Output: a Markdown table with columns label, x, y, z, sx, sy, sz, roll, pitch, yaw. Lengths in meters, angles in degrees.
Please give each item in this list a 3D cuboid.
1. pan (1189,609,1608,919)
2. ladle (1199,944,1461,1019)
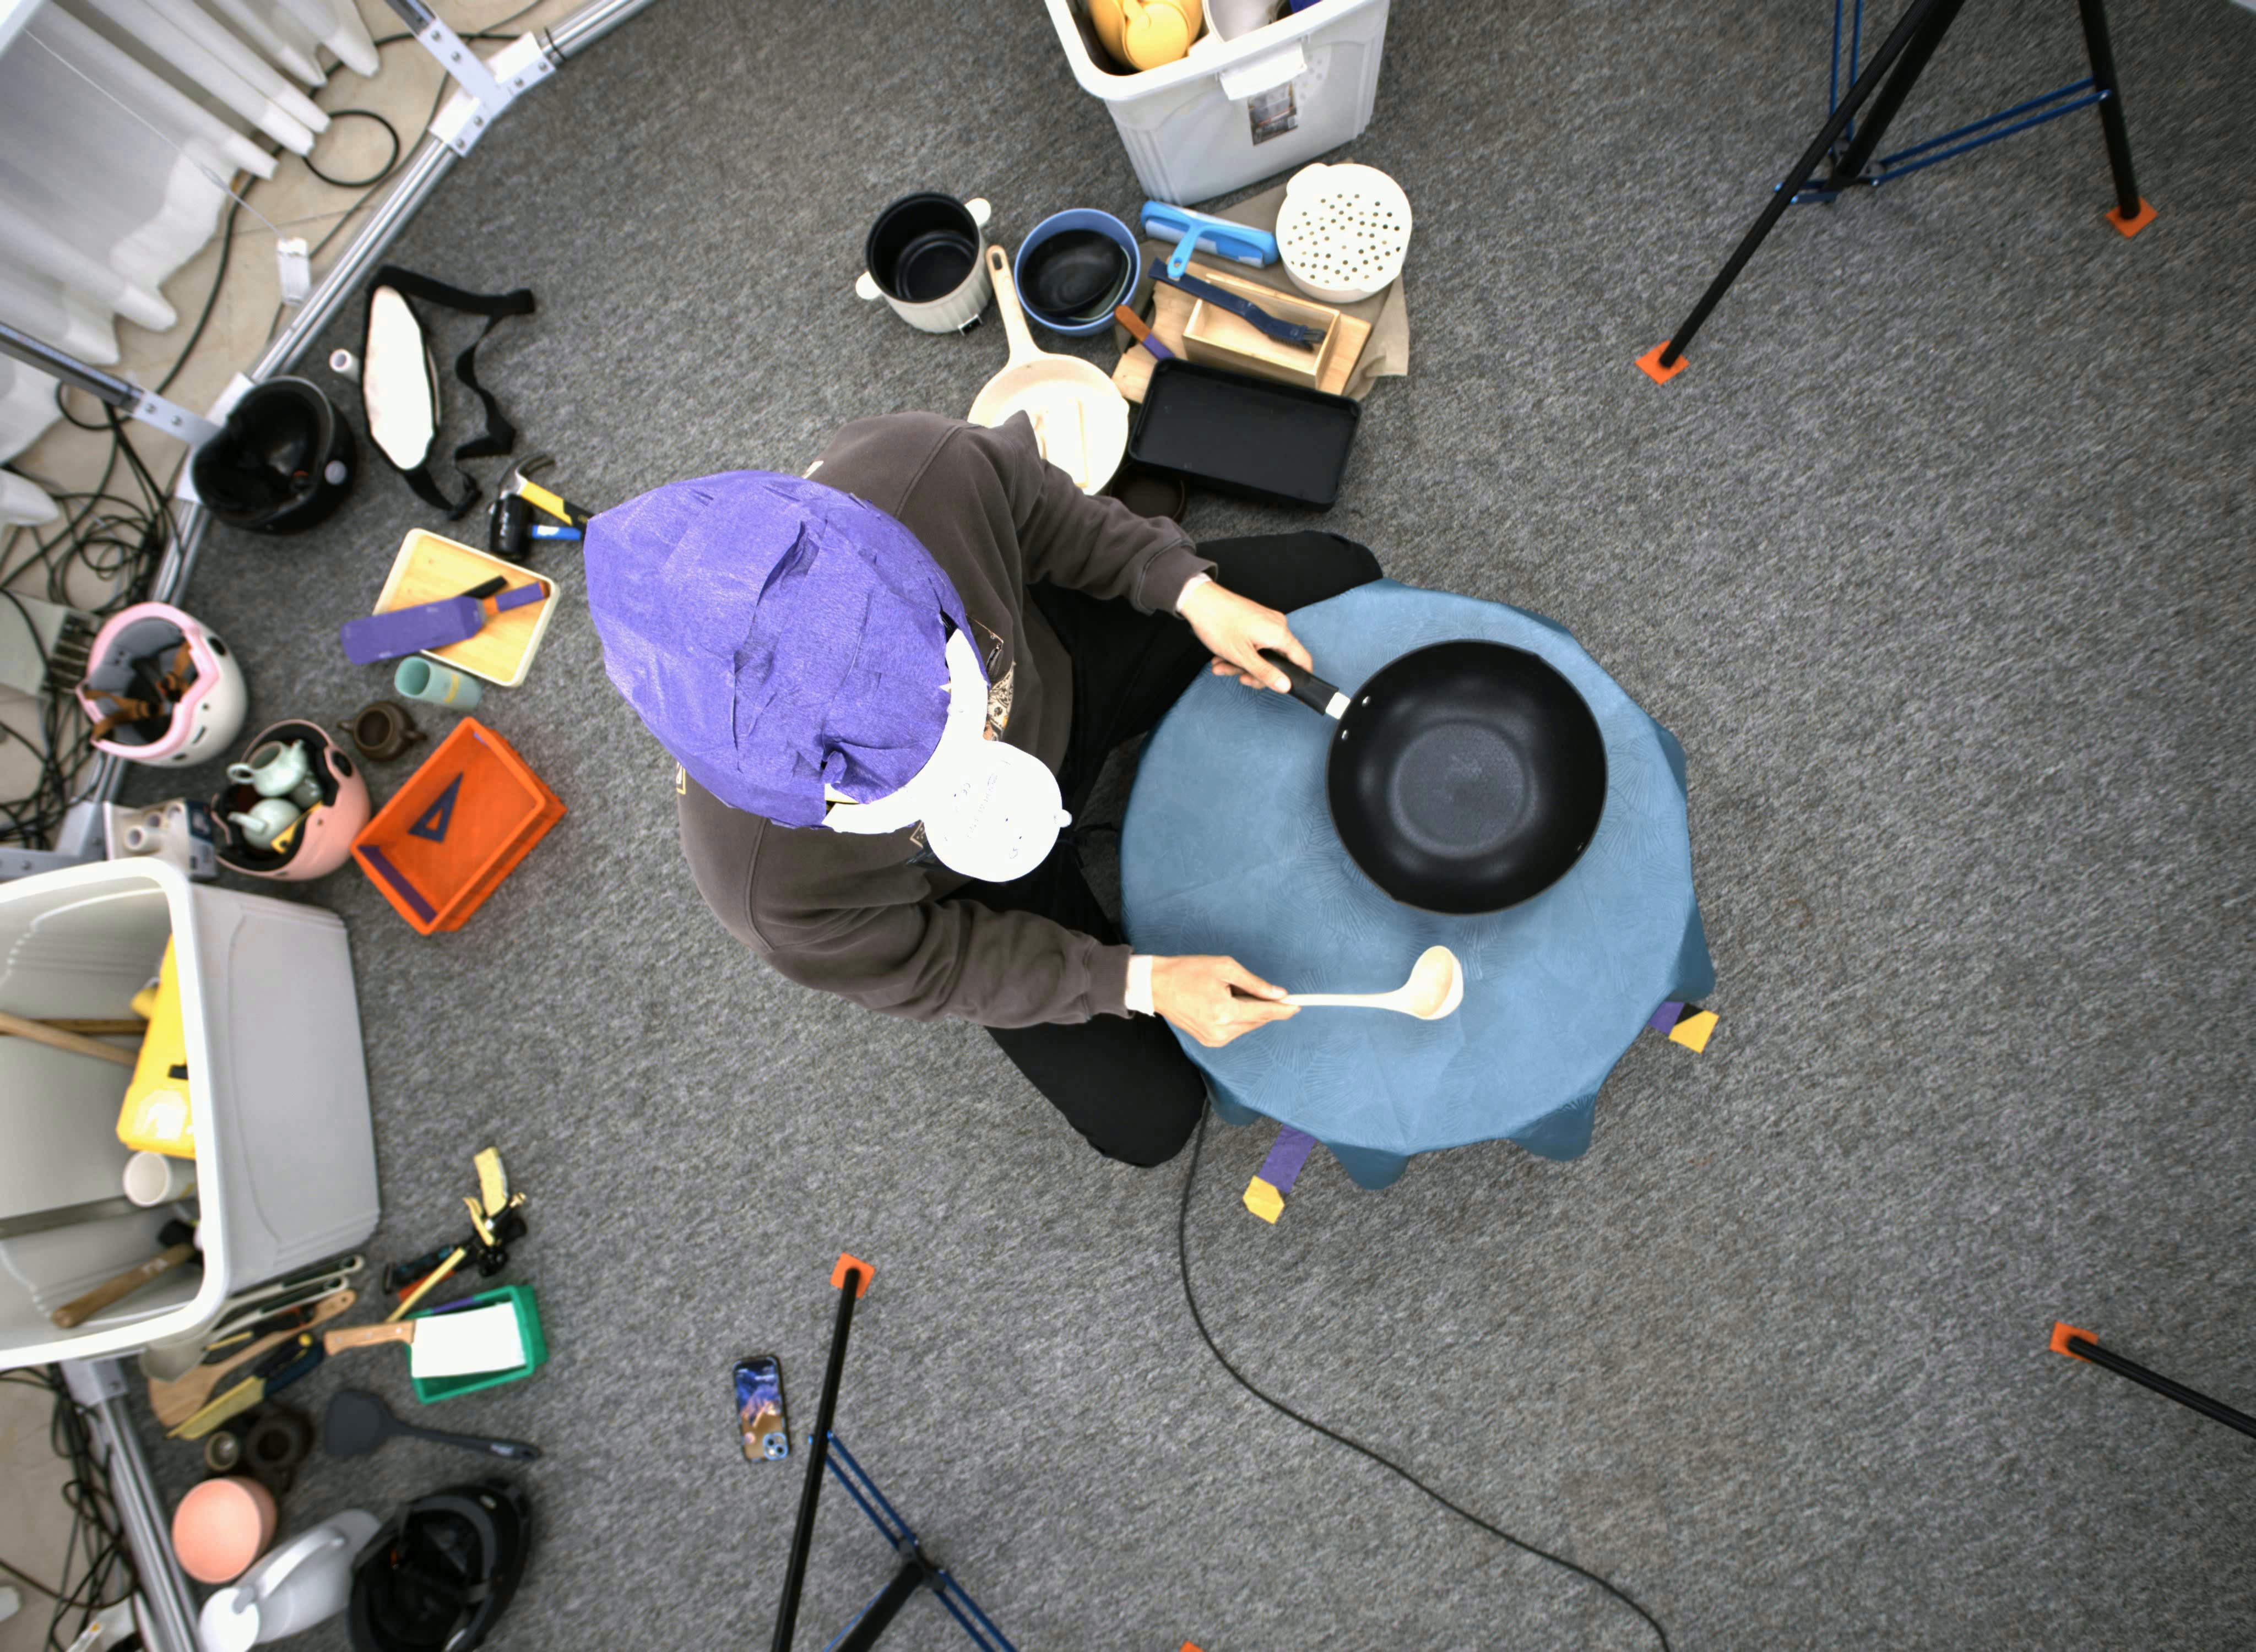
| label | x | y | z | sx | sy | sz | roll | pitch | yaw |
| --- | --- | --- | --- | --- | --- | --- | --- | --- | --- |
| pan | 0.264 | -0.092 | 1.425 | 0.462 | 0.087 | 0.289 | 31 | 93 | 12 |
| ladle | 0.198 | 0.156 | 1.358 | 0.254 | 0.074 | 0.070 | -3 | 53 | -2 |
